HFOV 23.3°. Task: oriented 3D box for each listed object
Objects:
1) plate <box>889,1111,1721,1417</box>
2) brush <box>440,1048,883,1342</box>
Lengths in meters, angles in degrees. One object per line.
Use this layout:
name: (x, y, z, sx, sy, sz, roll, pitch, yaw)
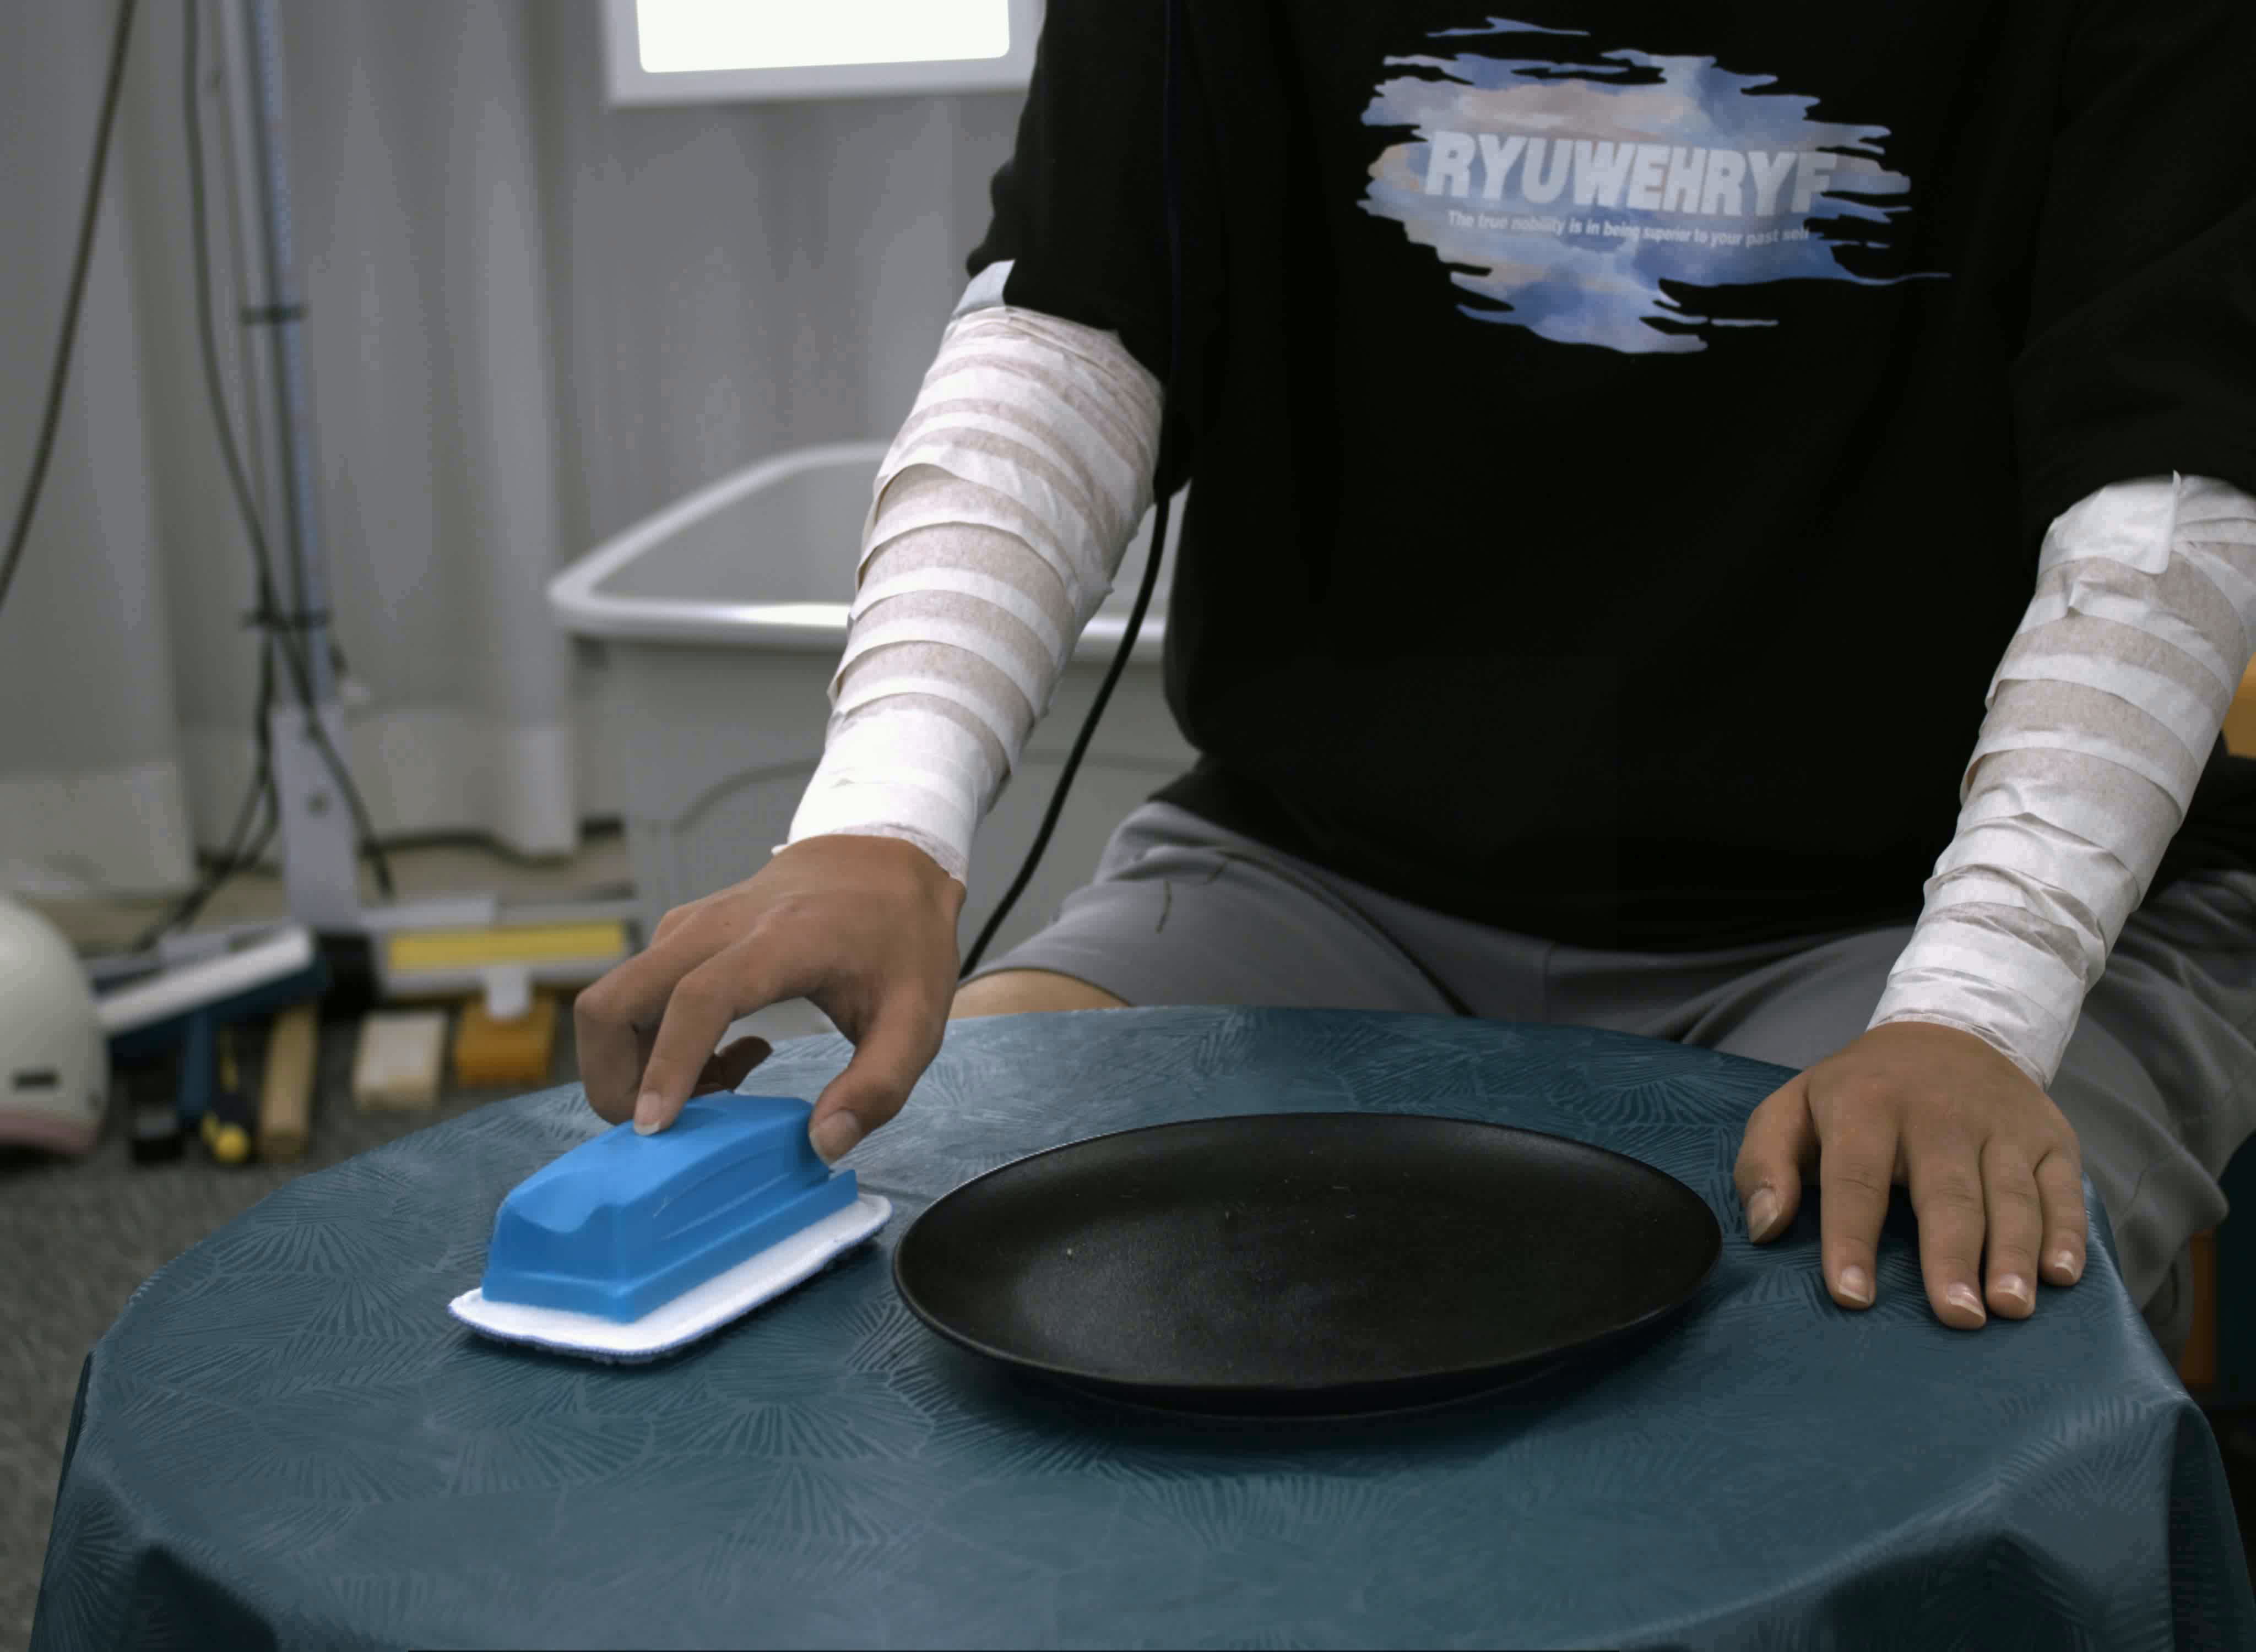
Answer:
plate: (0.052, 0.130, 1.597, 0.243, 0.023, 0.246, -3, 15, 0)
brush: (-0.139, 0.107, 1.646, 0.084, 0.055, 0.144, 10, 22, 28)
